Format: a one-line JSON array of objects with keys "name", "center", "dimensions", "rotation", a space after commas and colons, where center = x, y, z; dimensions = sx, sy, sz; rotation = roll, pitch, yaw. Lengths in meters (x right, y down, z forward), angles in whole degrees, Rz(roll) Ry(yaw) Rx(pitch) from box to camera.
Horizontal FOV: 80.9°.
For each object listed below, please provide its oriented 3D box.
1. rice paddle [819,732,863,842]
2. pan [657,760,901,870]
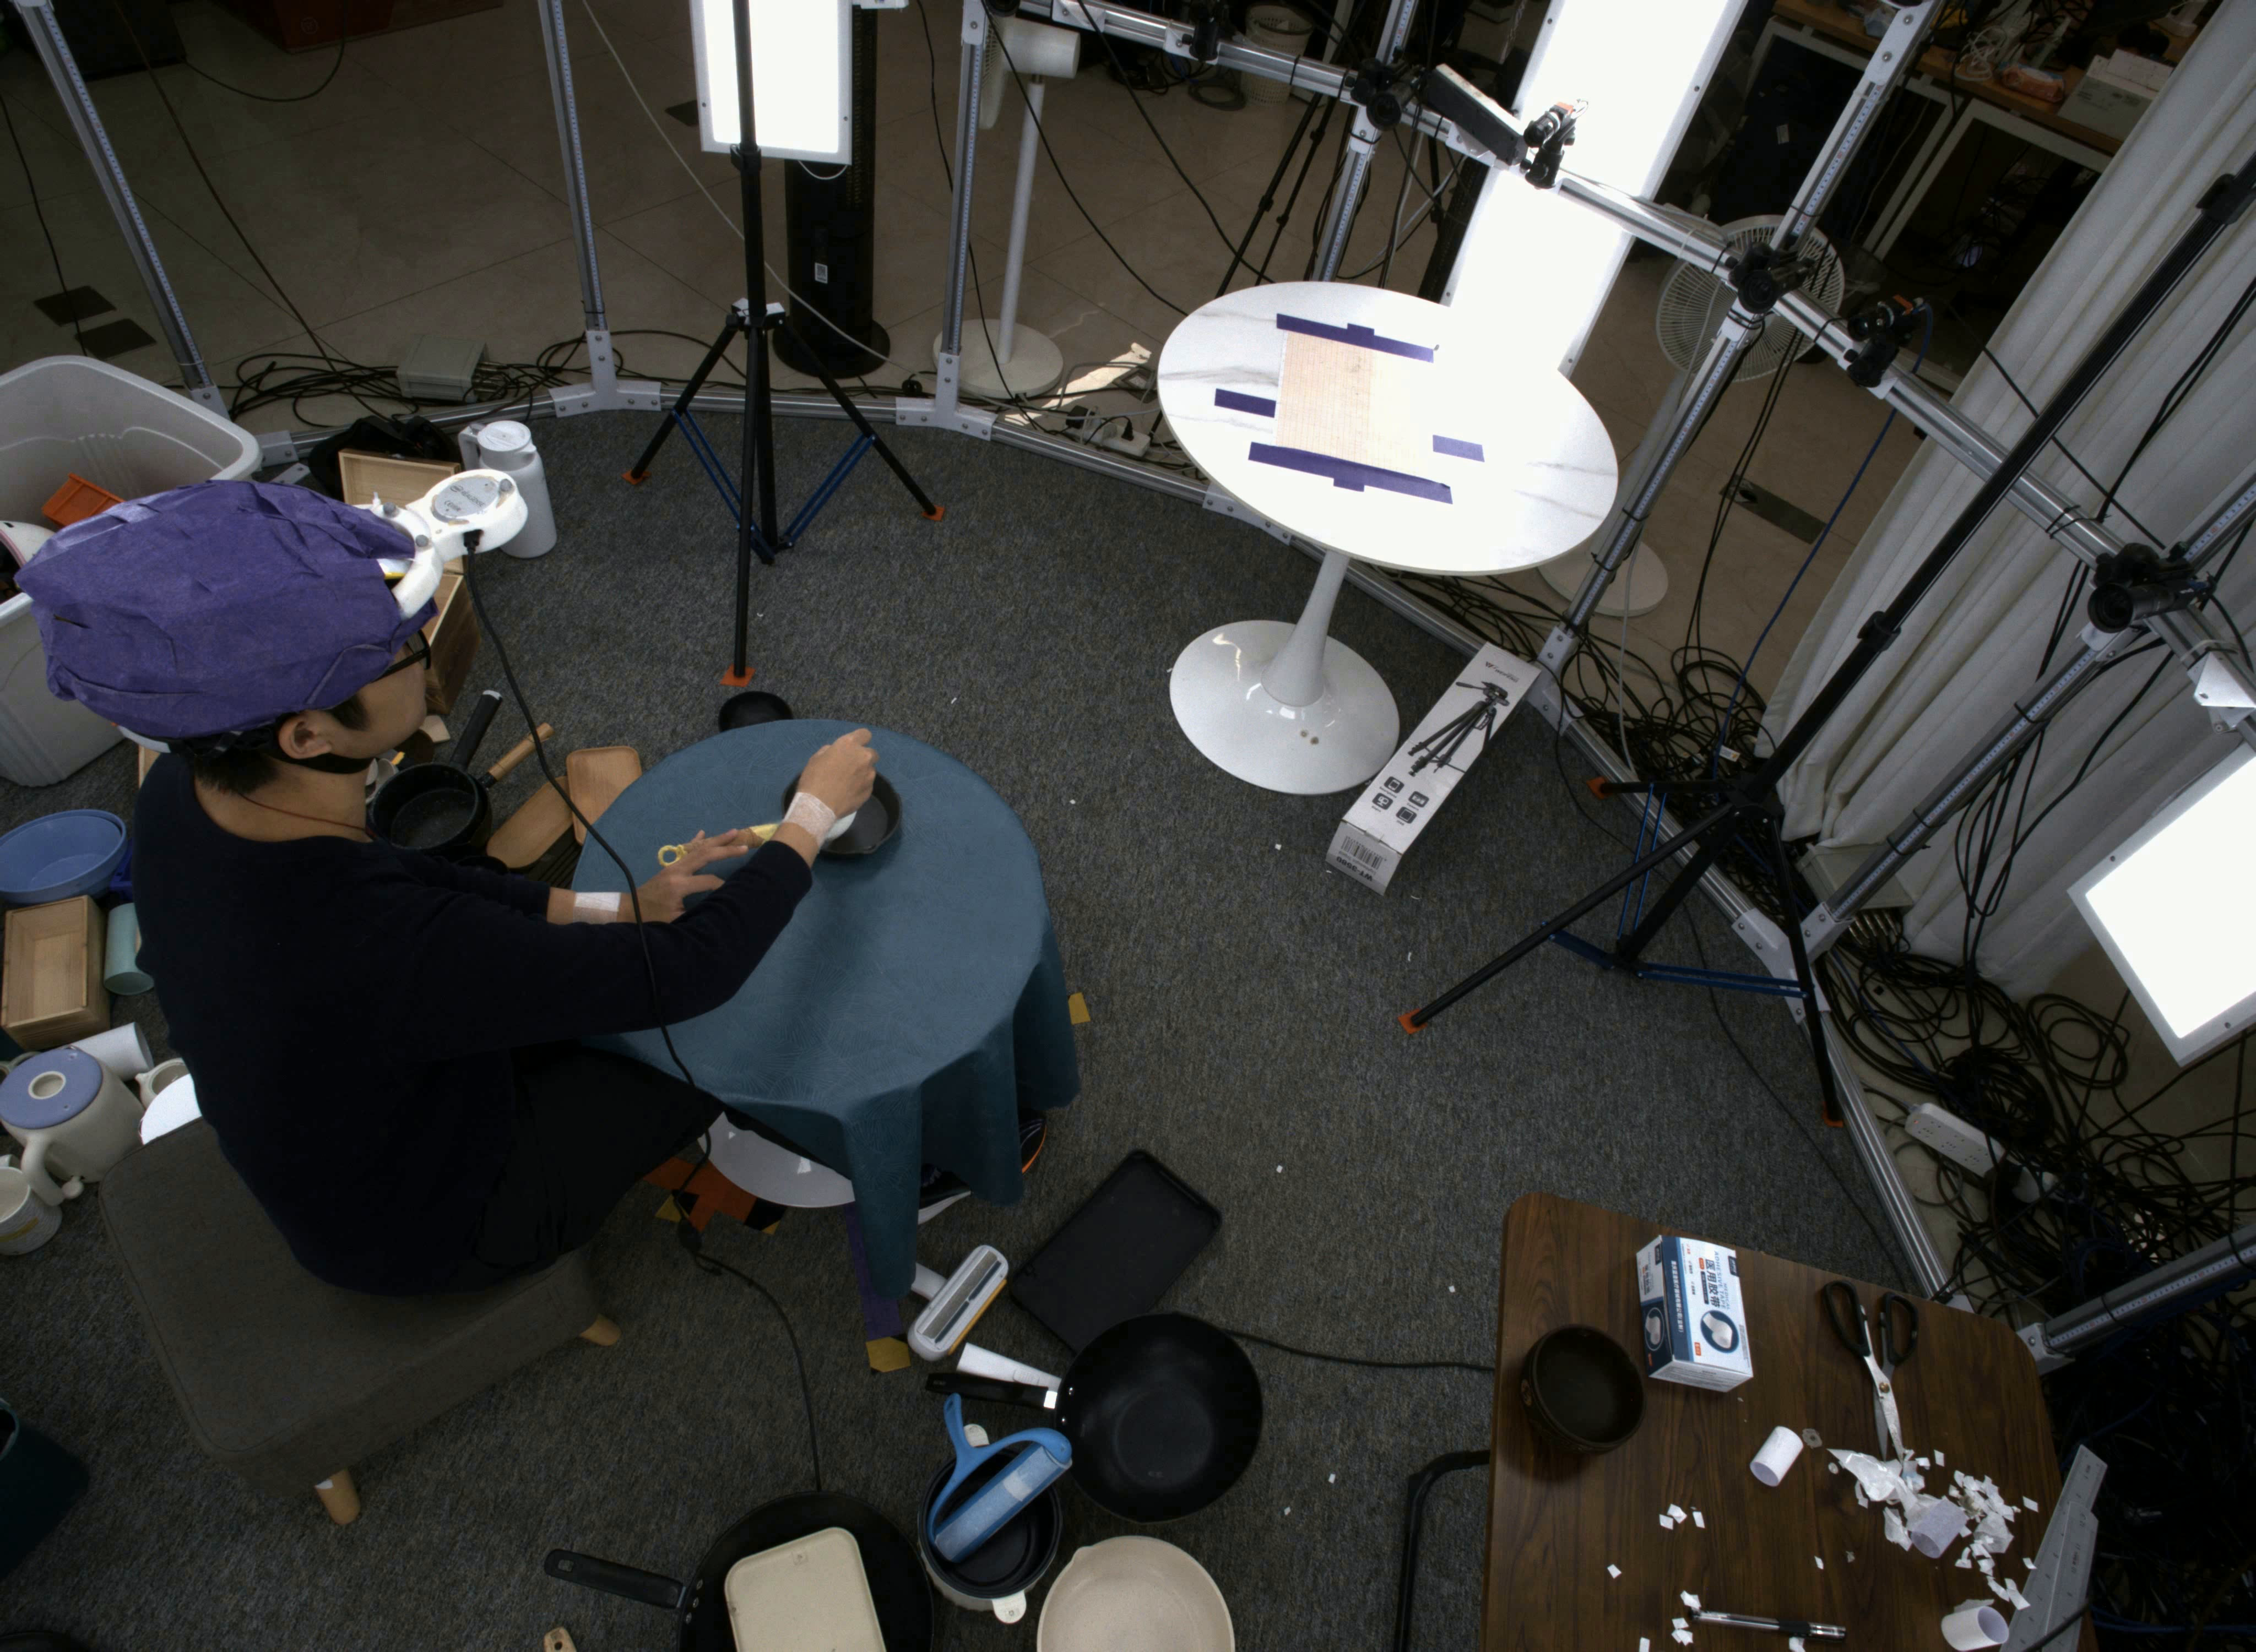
[{"name": "rice paddle", "center": [-0.358, -0.045, 1.622], "dimensions": [0.029, 0.208, 0.068], "rotation": [37, 54, 8]}, {"name": "pan", "center": [-0.447, 0.002, 1.663], "dimensions": [0.326, 0.050, 0.165], "rotation": [-19, 60, -32]}]
